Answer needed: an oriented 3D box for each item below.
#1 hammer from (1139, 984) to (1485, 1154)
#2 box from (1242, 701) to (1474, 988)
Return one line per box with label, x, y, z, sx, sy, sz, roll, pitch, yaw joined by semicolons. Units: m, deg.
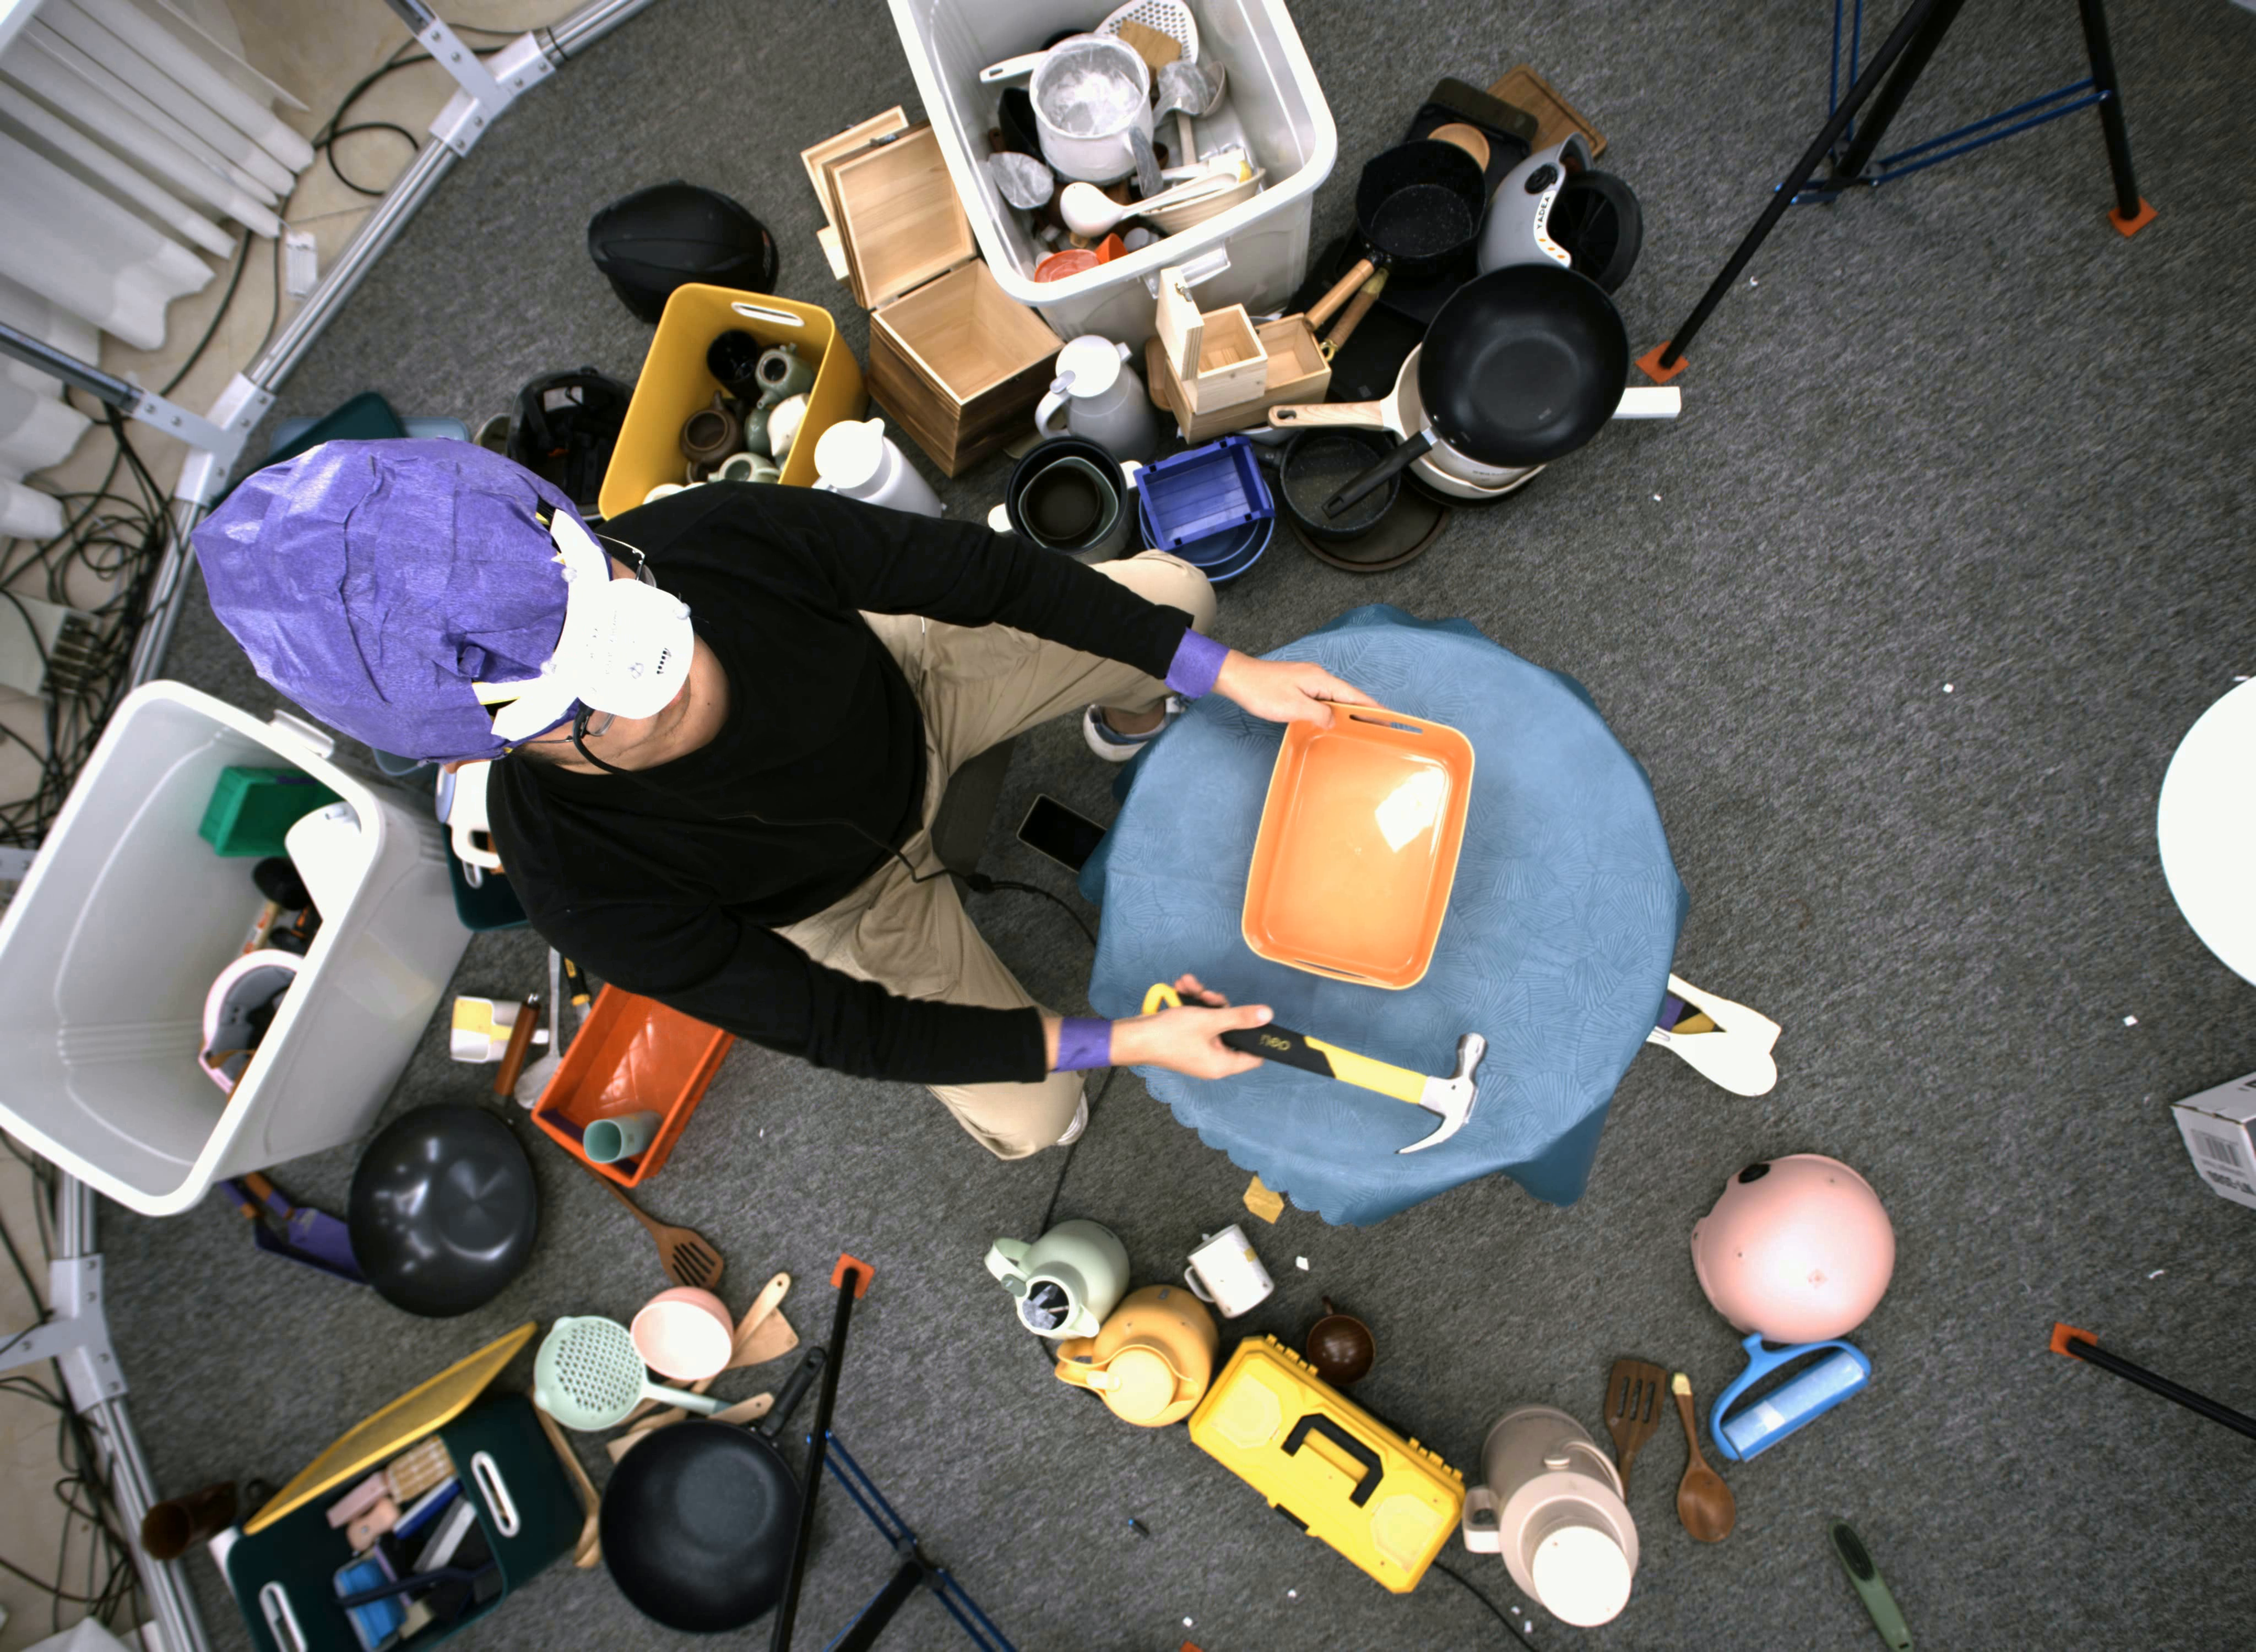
hammer;0.173;0.224;1.376;0.339;0.032;0.130;17;78;10
box;0.236;0.021;1.418;0.200;0.102;0.272;13;89;12
